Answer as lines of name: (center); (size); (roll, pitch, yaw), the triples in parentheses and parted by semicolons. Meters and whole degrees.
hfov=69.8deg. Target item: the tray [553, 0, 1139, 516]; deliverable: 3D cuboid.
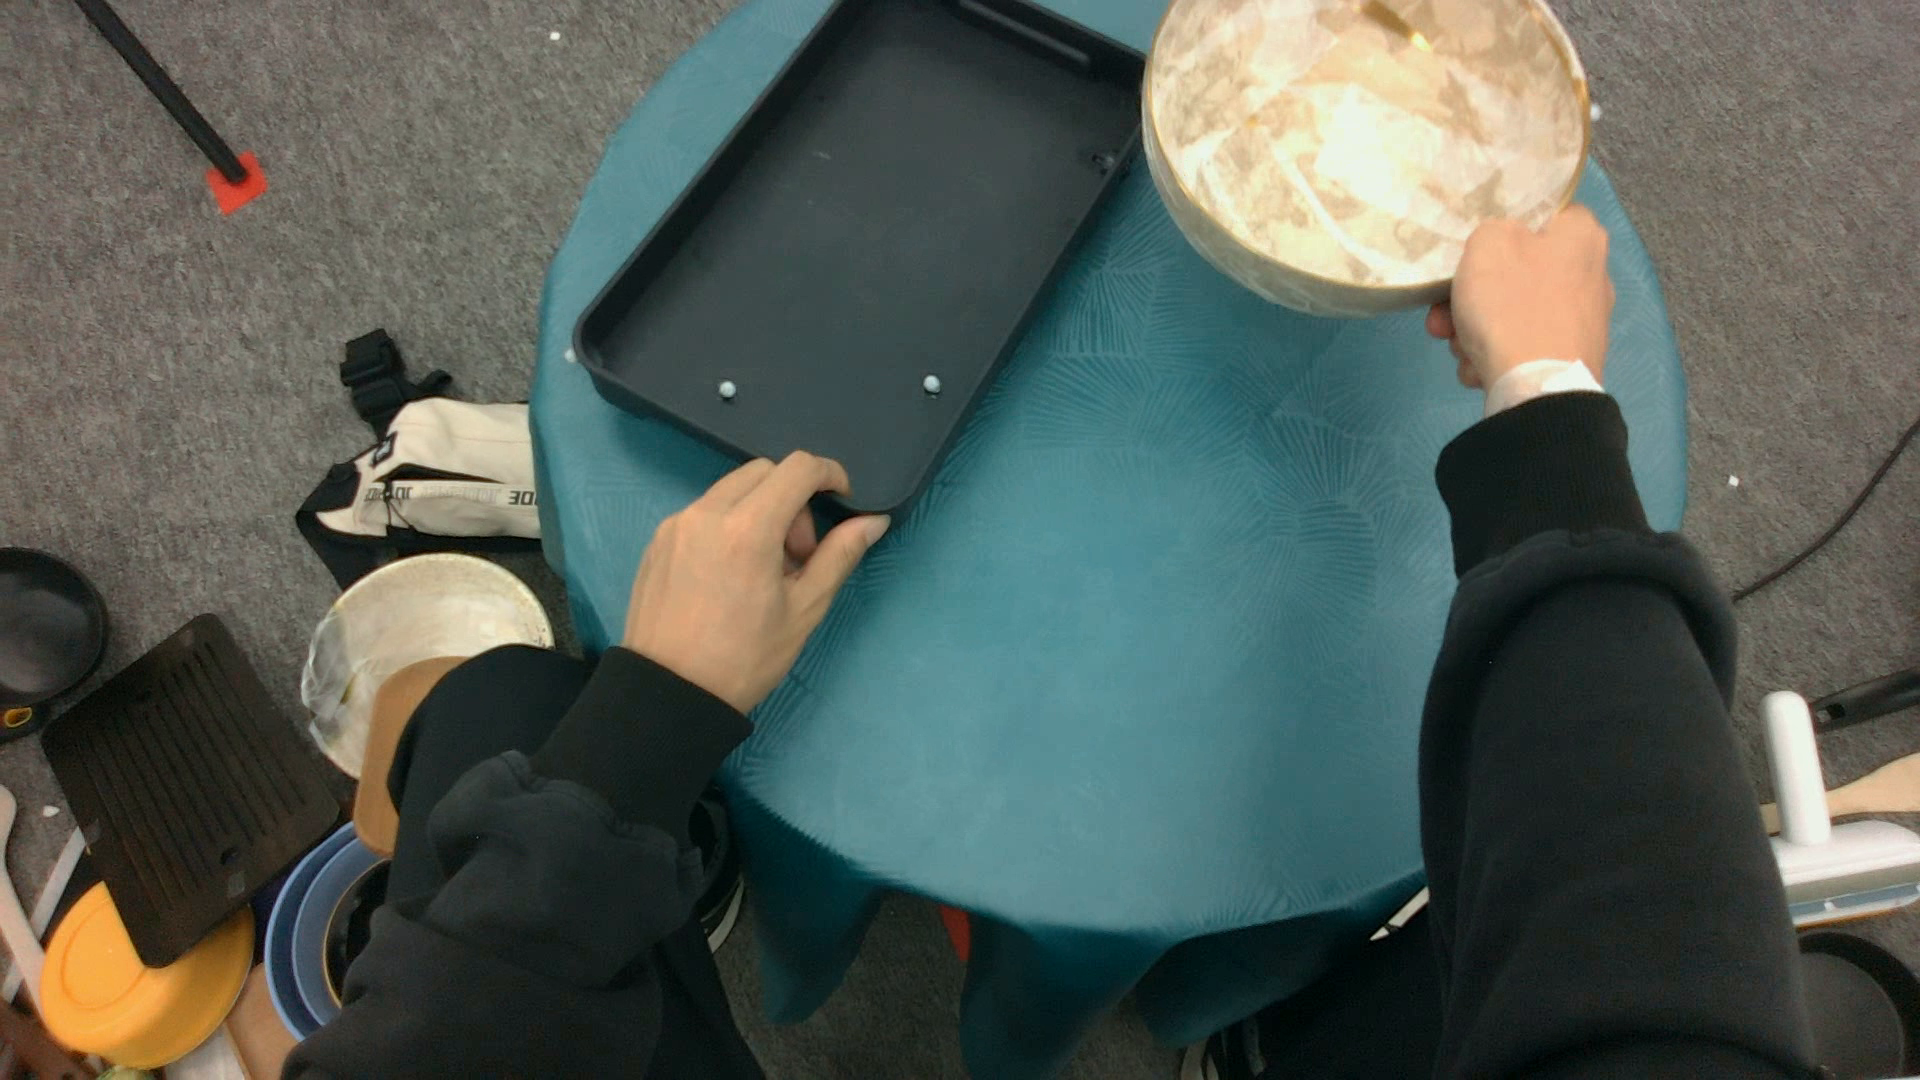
tray: (-0.043, -0.172, 0.709); (0.184, 0.037, 0.319); (29, 64, 9)

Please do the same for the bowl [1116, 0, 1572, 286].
bowl: (0.167, -0.201, 0.651); (0.215, 0.094, 0.215); (0, 74, -2)
